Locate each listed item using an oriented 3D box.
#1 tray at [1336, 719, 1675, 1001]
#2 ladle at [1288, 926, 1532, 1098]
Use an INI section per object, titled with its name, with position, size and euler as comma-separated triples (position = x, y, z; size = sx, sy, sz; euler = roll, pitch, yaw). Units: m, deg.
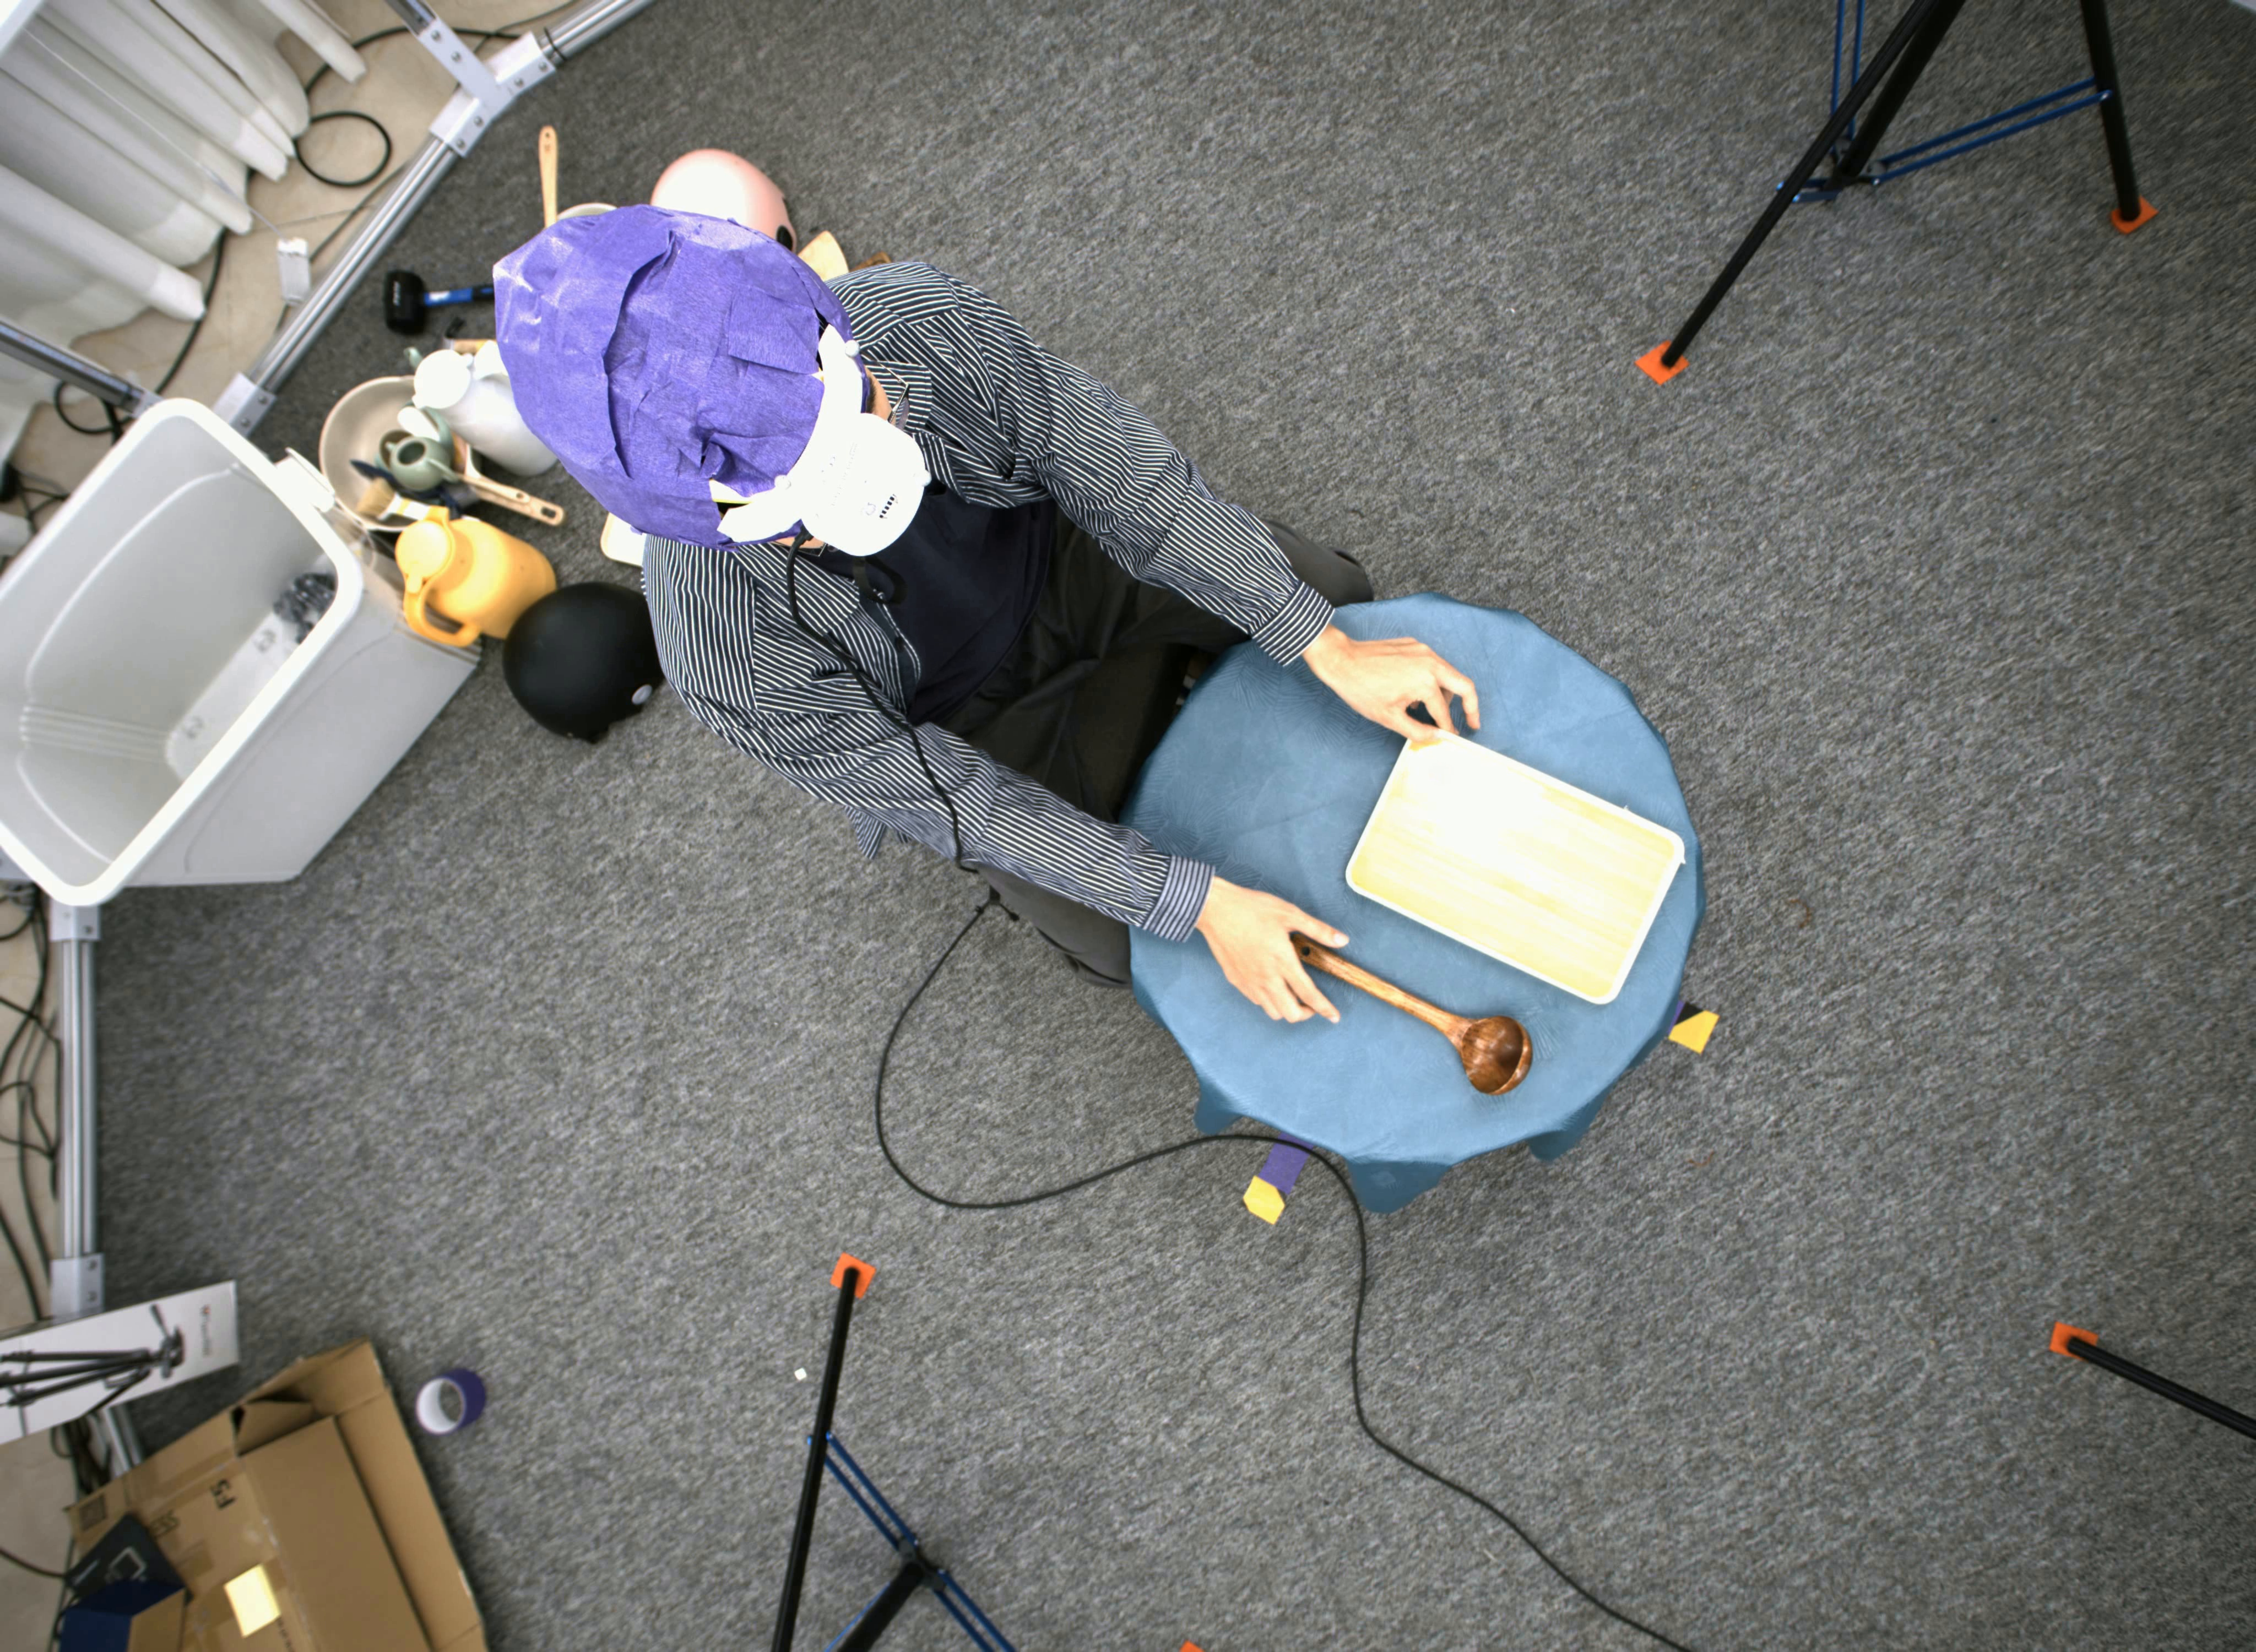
[tray]
position = 0.385, 0.031, 1.412
size = 0.300, 0.027, 0.192
euler = 26, 94, 9
[ladle]
position = 0.280, 0.181, 1.404
size = 0.273, 0.076, 0.082
euler = 29, 95, 10
